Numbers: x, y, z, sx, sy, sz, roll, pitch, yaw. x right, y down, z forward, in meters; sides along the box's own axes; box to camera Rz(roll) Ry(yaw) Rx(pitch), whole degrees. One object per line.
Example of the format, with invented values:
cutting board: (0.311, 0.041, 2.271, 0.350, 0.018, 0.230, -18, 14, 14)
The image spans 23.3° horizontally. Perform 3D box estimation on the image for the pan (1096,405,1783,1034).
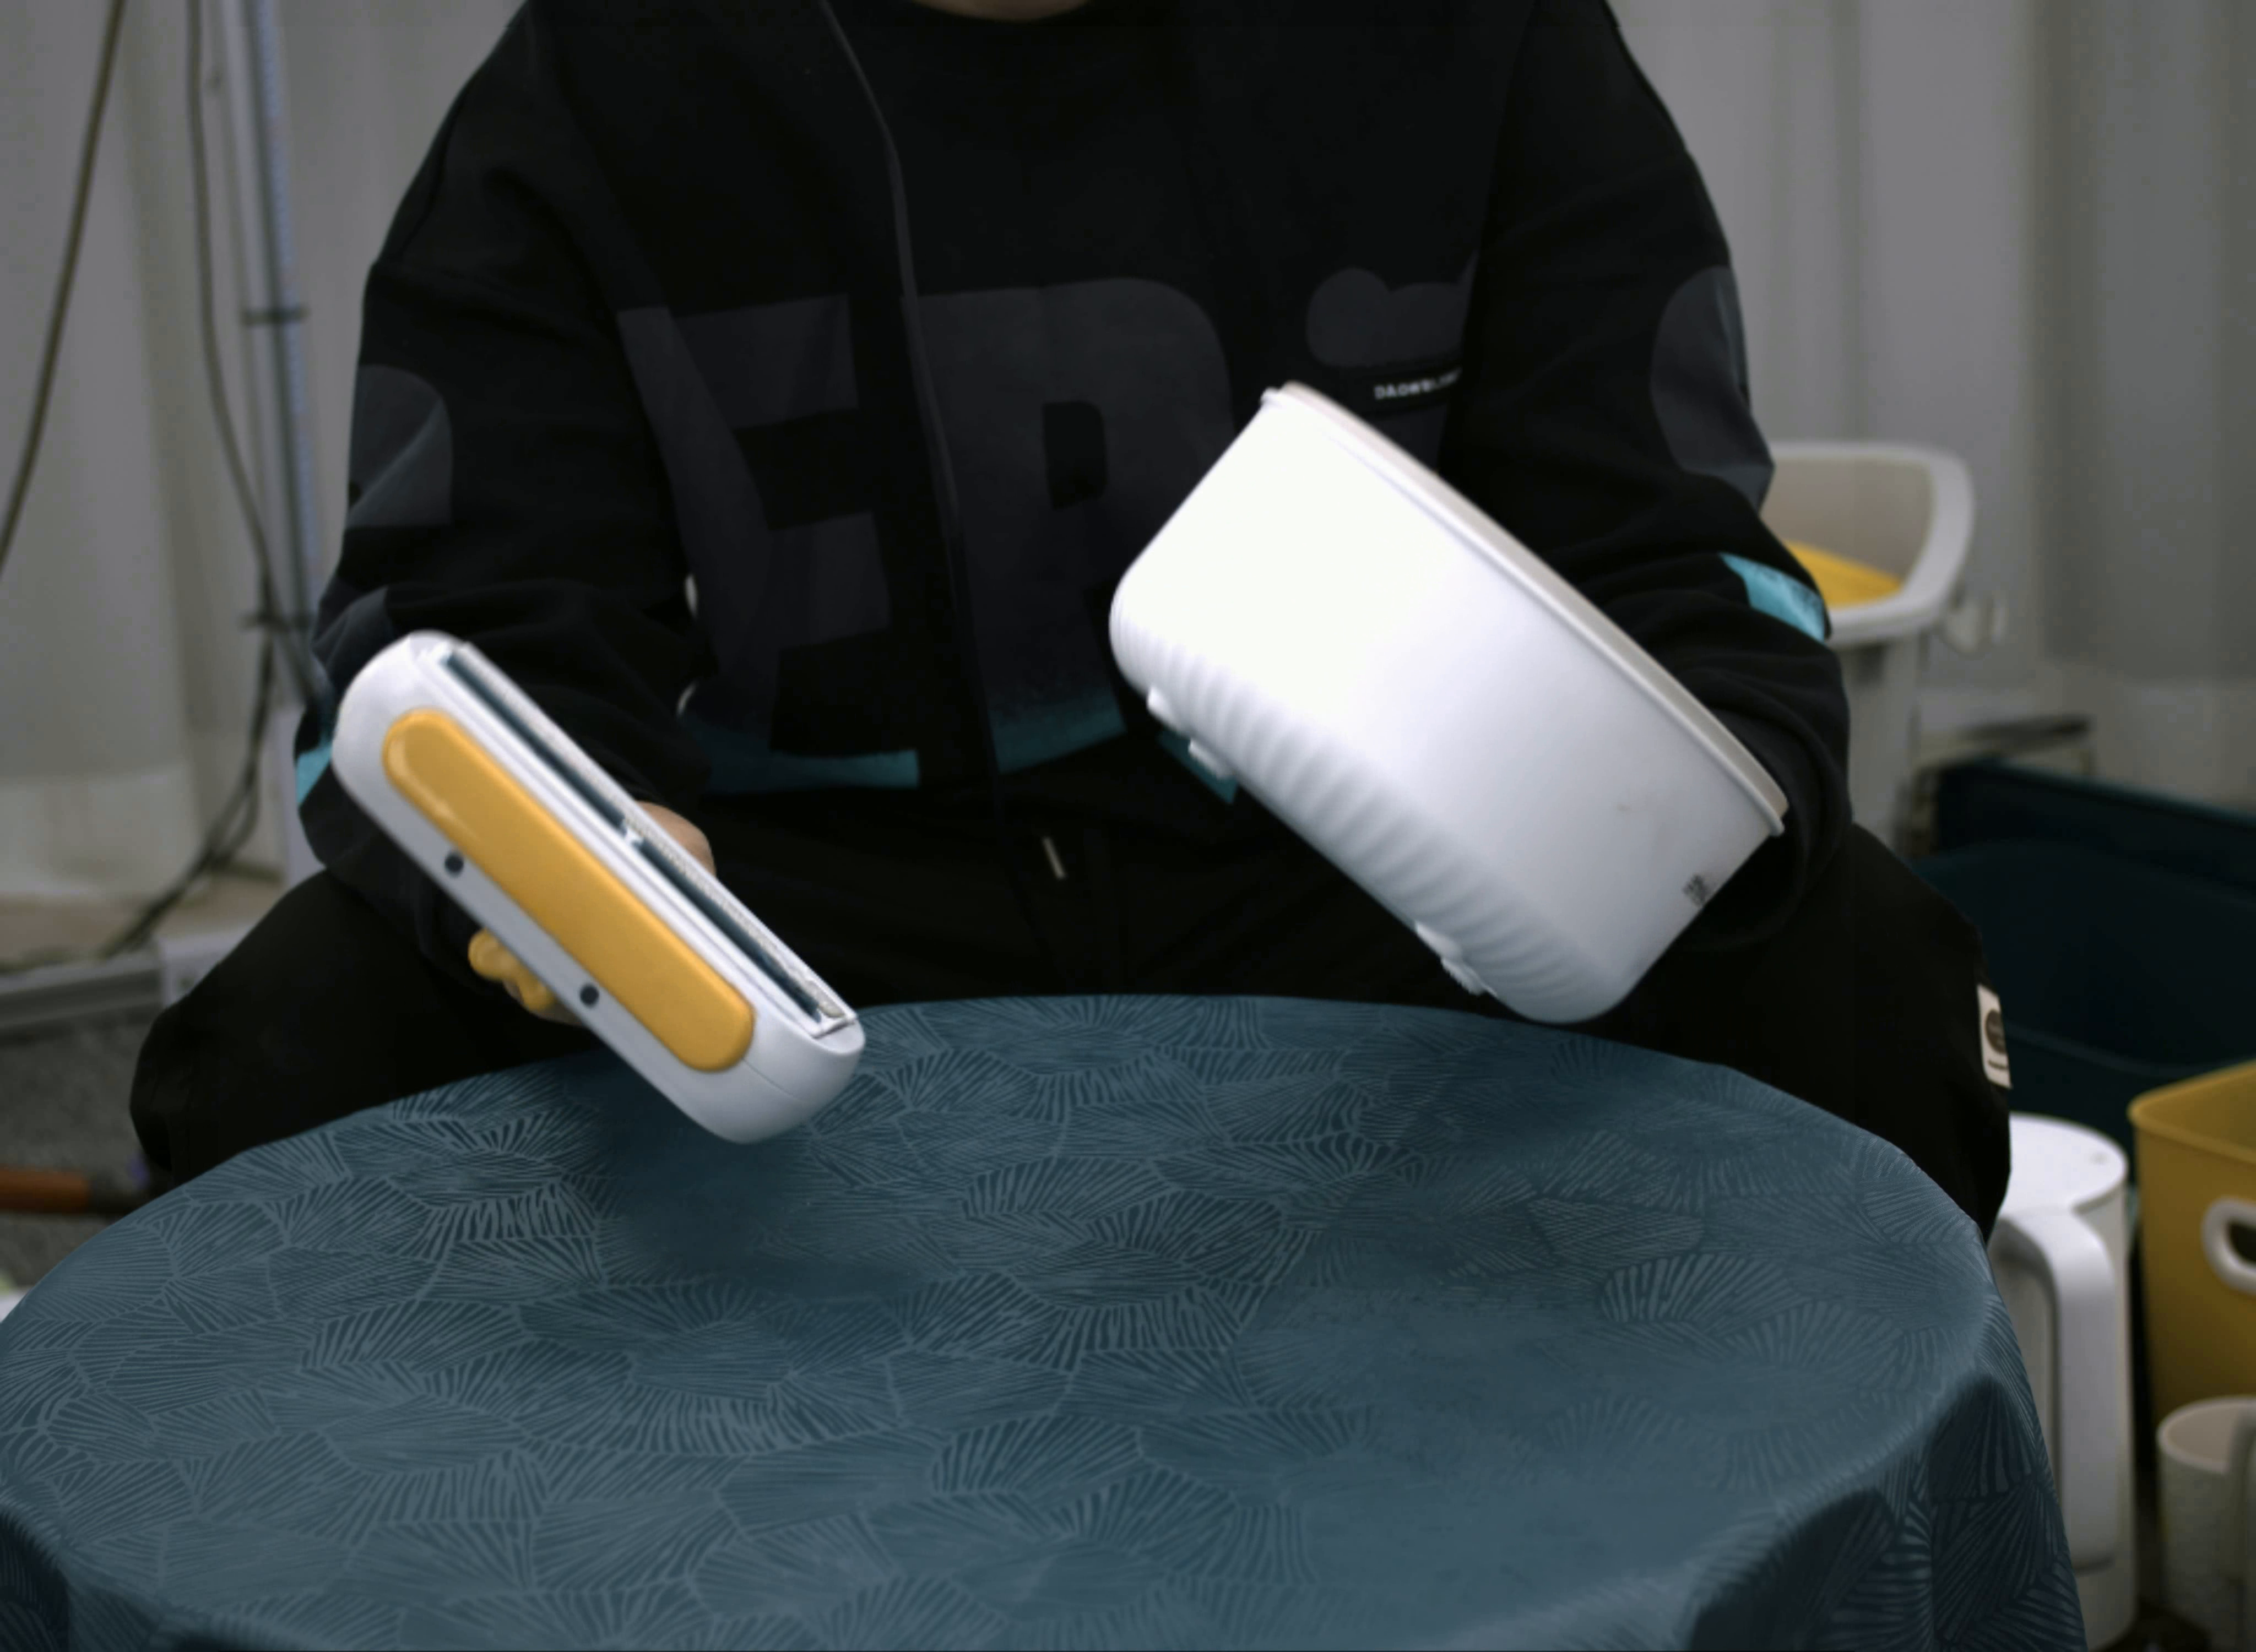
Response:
pan: (0.093, -0.015, 1.691, 0.202, 0.102, 0.353, 37, -2, 9)

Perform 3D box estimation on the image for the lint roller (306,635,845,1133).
lint roller: (-0.160, 0.025, 1.714, 0.193, 0.074, 0.192, 38, 5, 11)
